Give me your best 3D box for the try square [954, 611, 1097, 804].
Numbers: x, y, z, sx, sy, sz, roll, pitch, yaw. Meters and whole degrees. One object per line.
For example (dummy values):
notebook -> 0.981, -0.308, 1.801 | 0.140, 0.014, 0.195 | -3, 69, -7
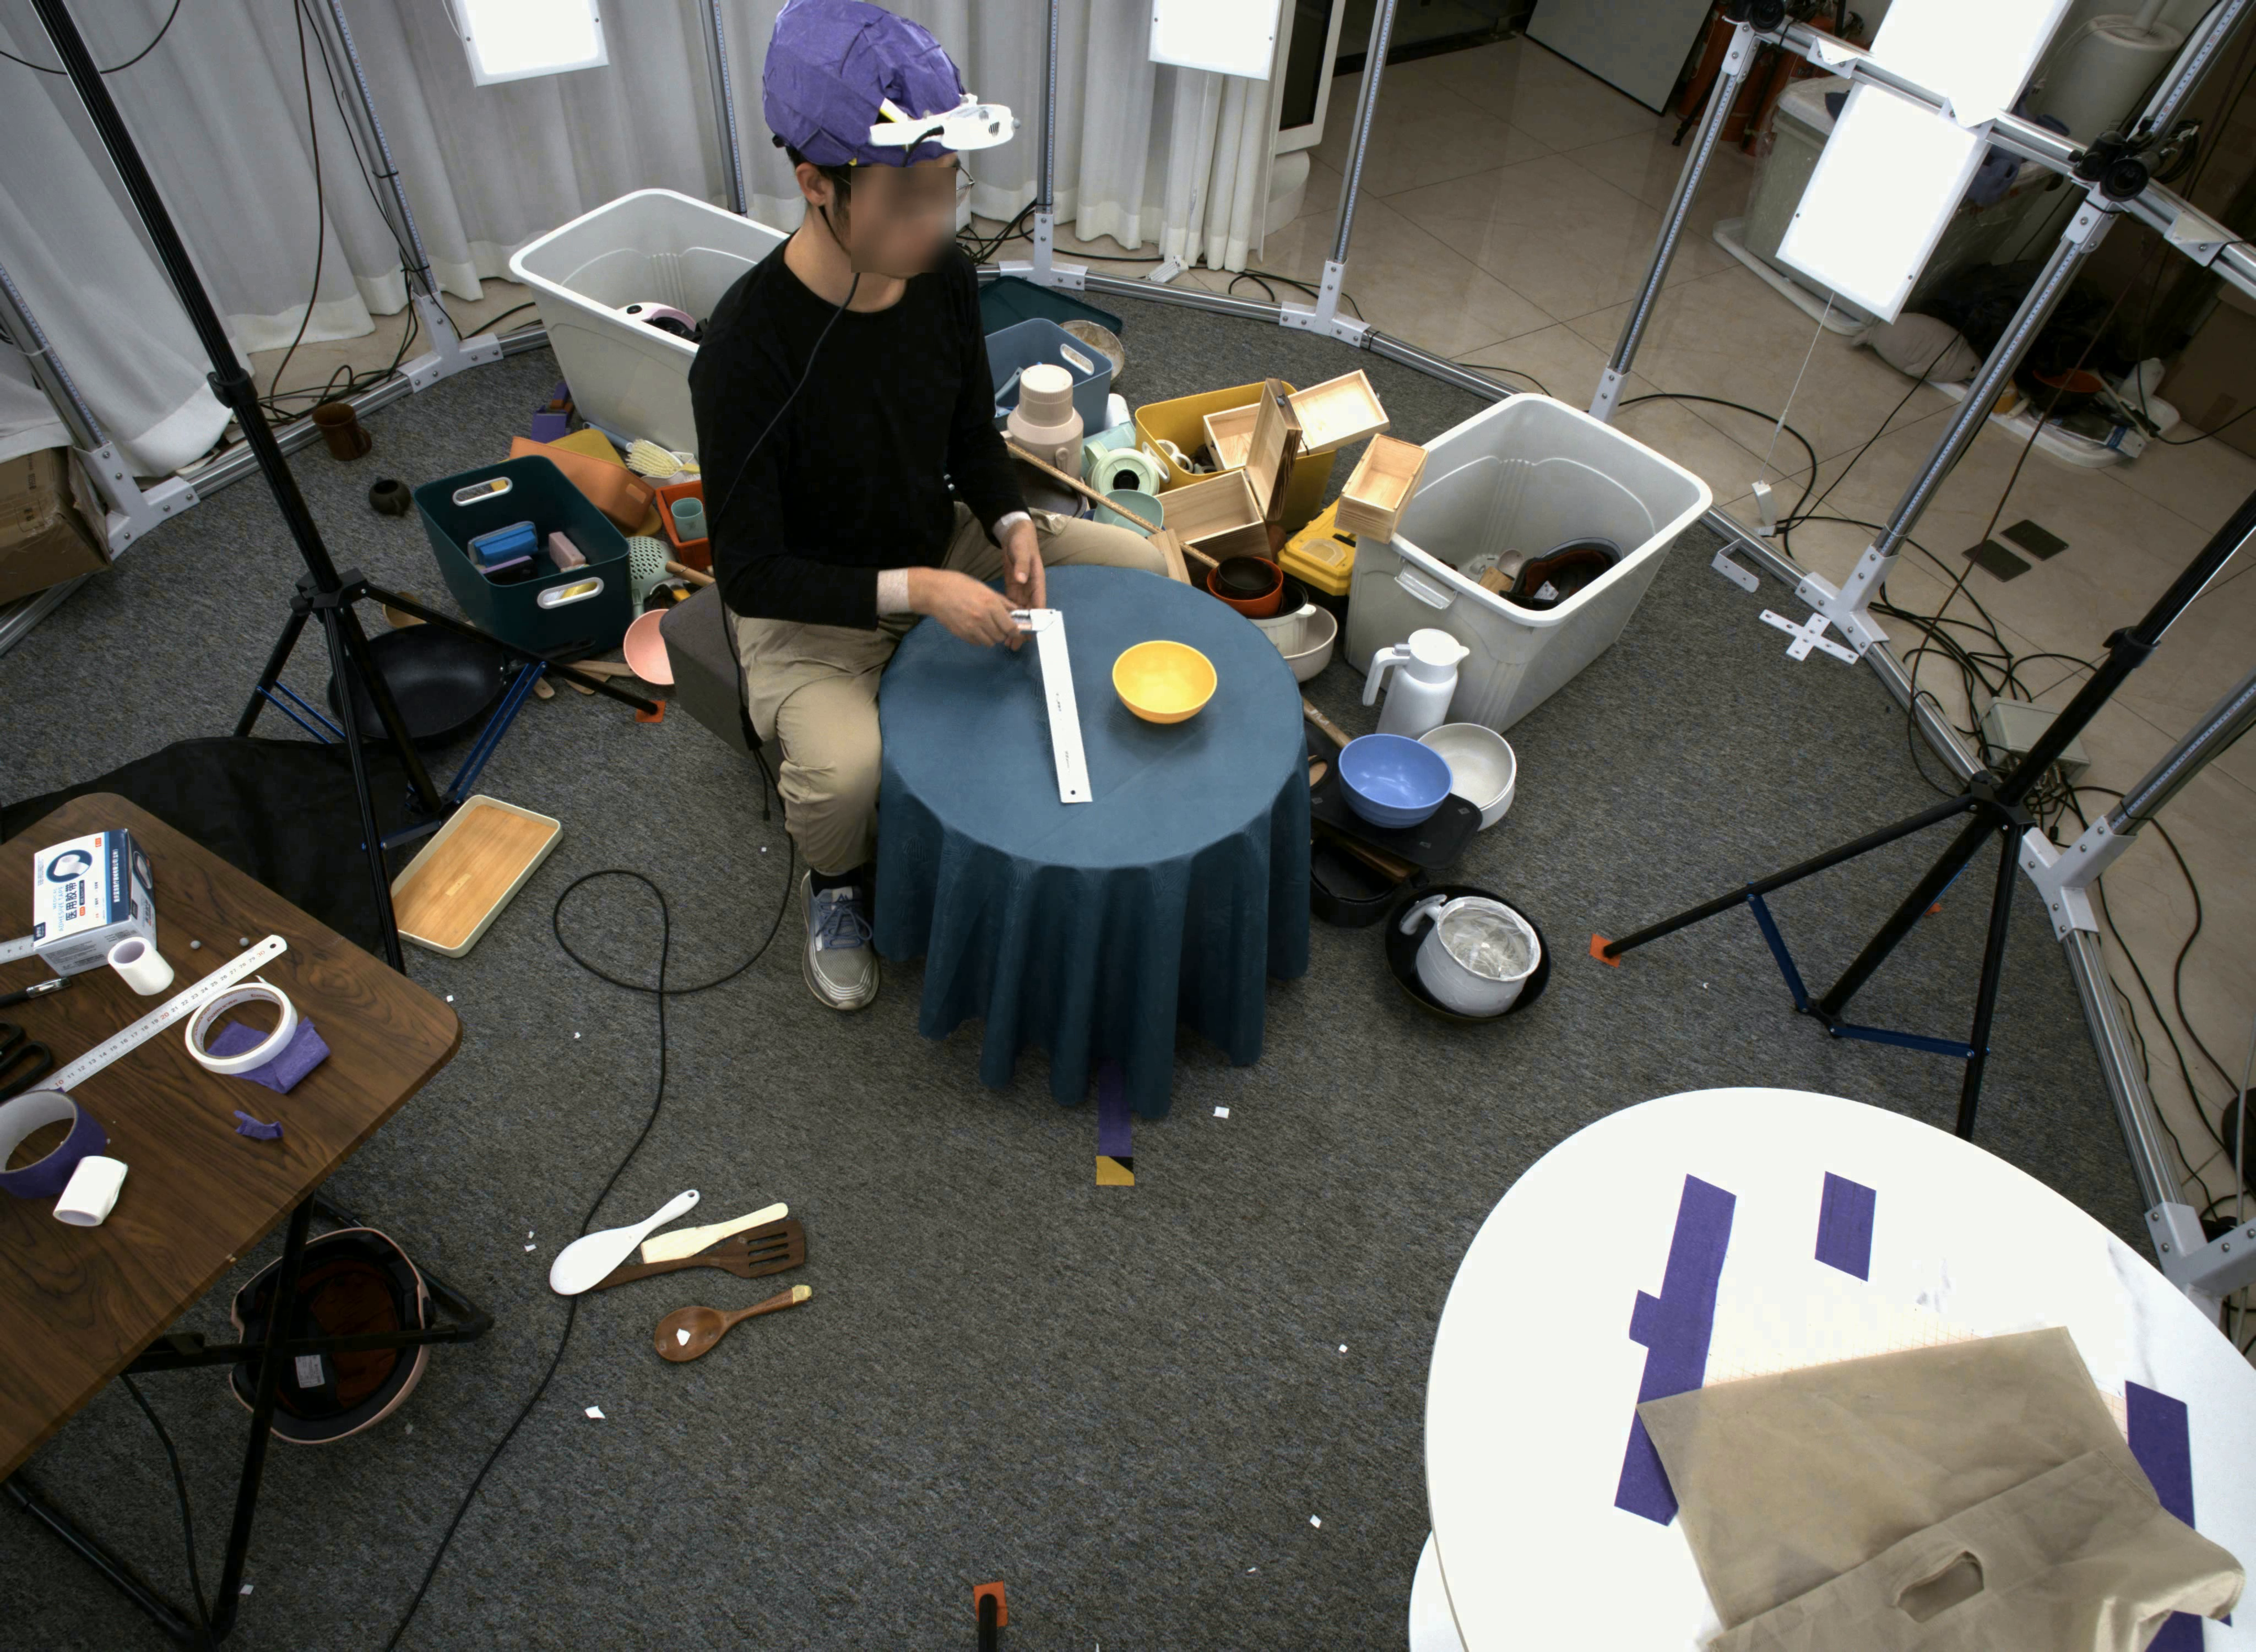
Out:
try square -> -0.143, -0.164, 1.753 | 0.152, 0.015, 0.320 | -5, 61, -13

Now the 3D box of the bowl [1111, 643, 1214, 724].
bowl -> 0.047, -0.189, 1.801 | 0.145, 0.058, 0.149 | 2, 46, -2
